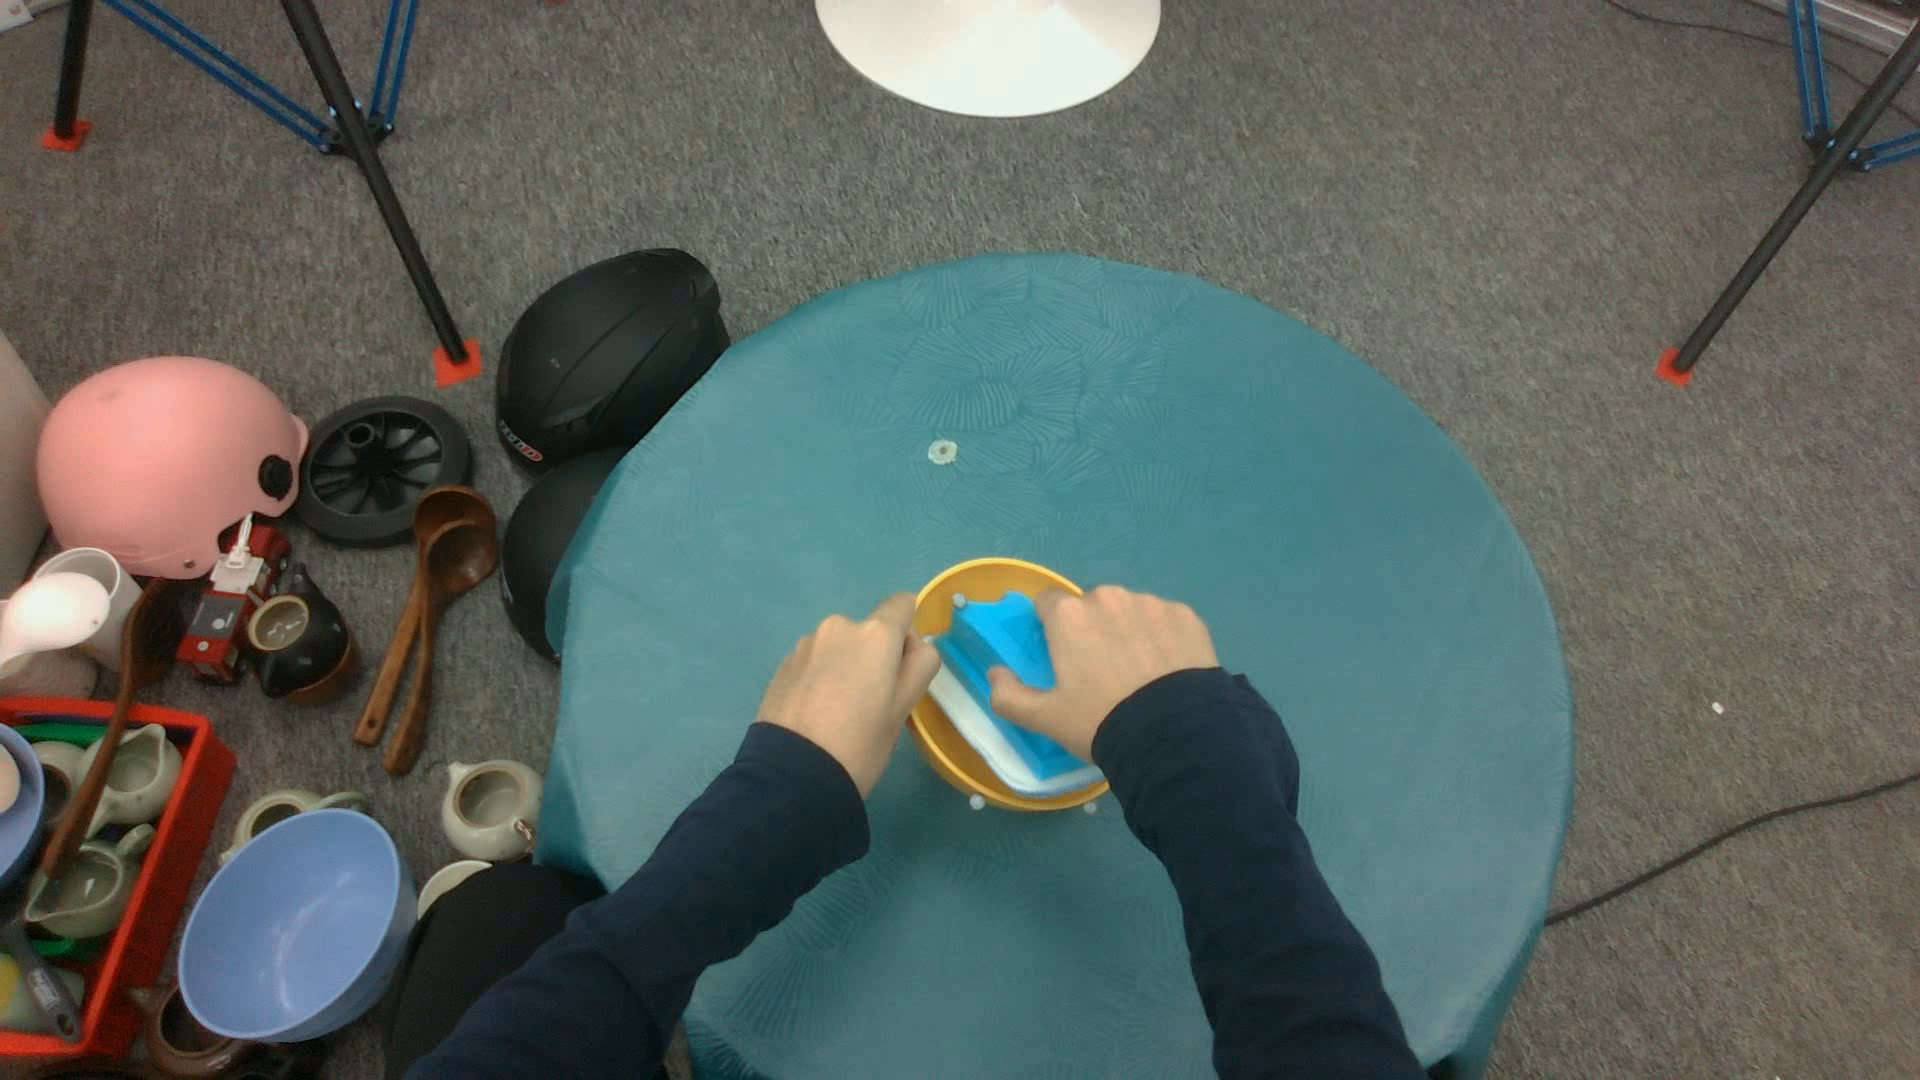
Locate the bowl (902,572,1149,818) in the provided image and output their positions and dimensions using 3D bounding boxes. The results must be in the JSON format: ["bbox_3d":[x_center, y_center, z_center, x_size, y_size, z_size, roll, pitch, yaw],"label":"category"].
[{"bbox_3d":[0.027,0.094,0.762,0.145,0.060,0.146,12,53,-17],"label":"bowl"}]

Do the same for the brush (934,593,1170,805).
[{"bbox_3d":[0.043,0.074,0.719,0.084,0.055,0.144,-15,32,-20],"label":"brush"}]
